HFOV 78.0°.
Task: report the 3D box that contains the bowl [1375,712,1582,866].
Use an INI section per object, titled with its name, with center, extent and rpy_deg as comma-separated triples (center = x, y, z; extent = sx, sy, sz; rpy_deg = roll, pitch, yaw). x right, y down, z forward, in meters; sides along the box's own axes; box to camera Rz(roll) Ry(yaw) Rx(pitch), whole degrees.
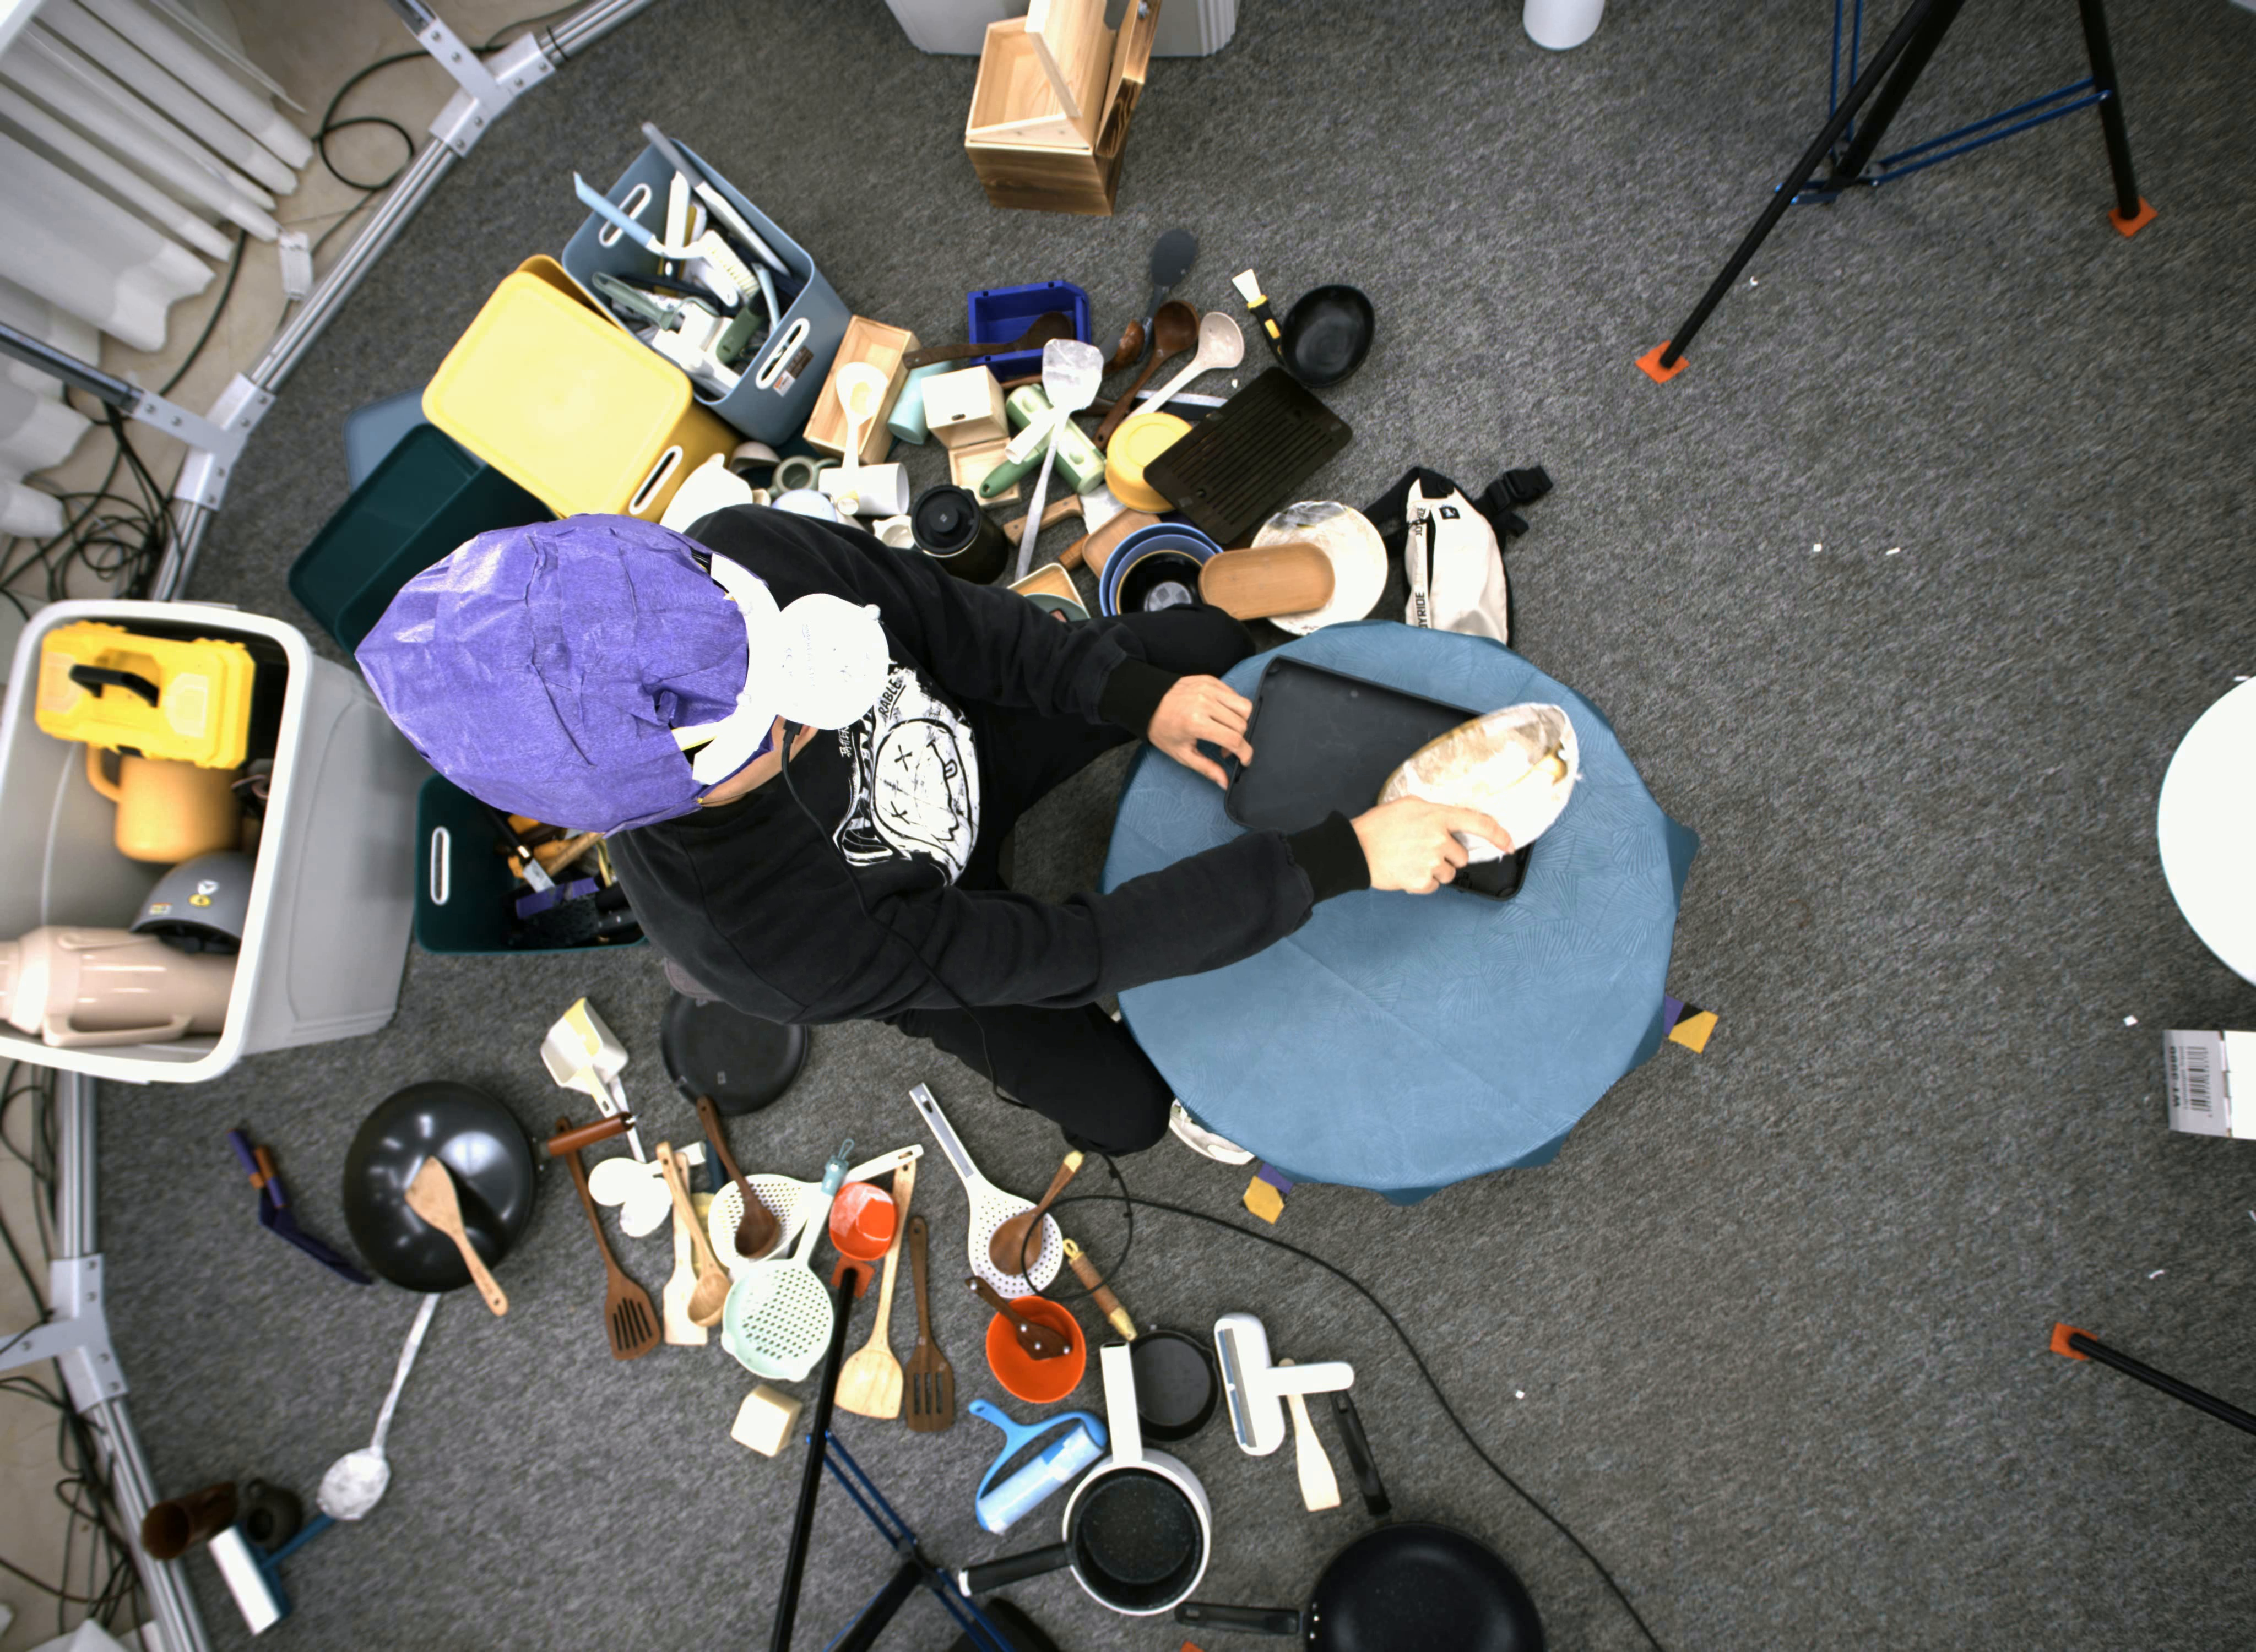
[bowl]
center = 0.354, -0.023, 1.350
extent = 0.216, 0.211, 0.095
rpy_deg = -28, 108, 6

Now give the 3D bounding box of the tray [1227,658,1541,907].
[tray]
center = 0.277, -0.047, 1.435
extent = 0.318, 0.037, 0.184
rpy_deg = 18, 91, 5
